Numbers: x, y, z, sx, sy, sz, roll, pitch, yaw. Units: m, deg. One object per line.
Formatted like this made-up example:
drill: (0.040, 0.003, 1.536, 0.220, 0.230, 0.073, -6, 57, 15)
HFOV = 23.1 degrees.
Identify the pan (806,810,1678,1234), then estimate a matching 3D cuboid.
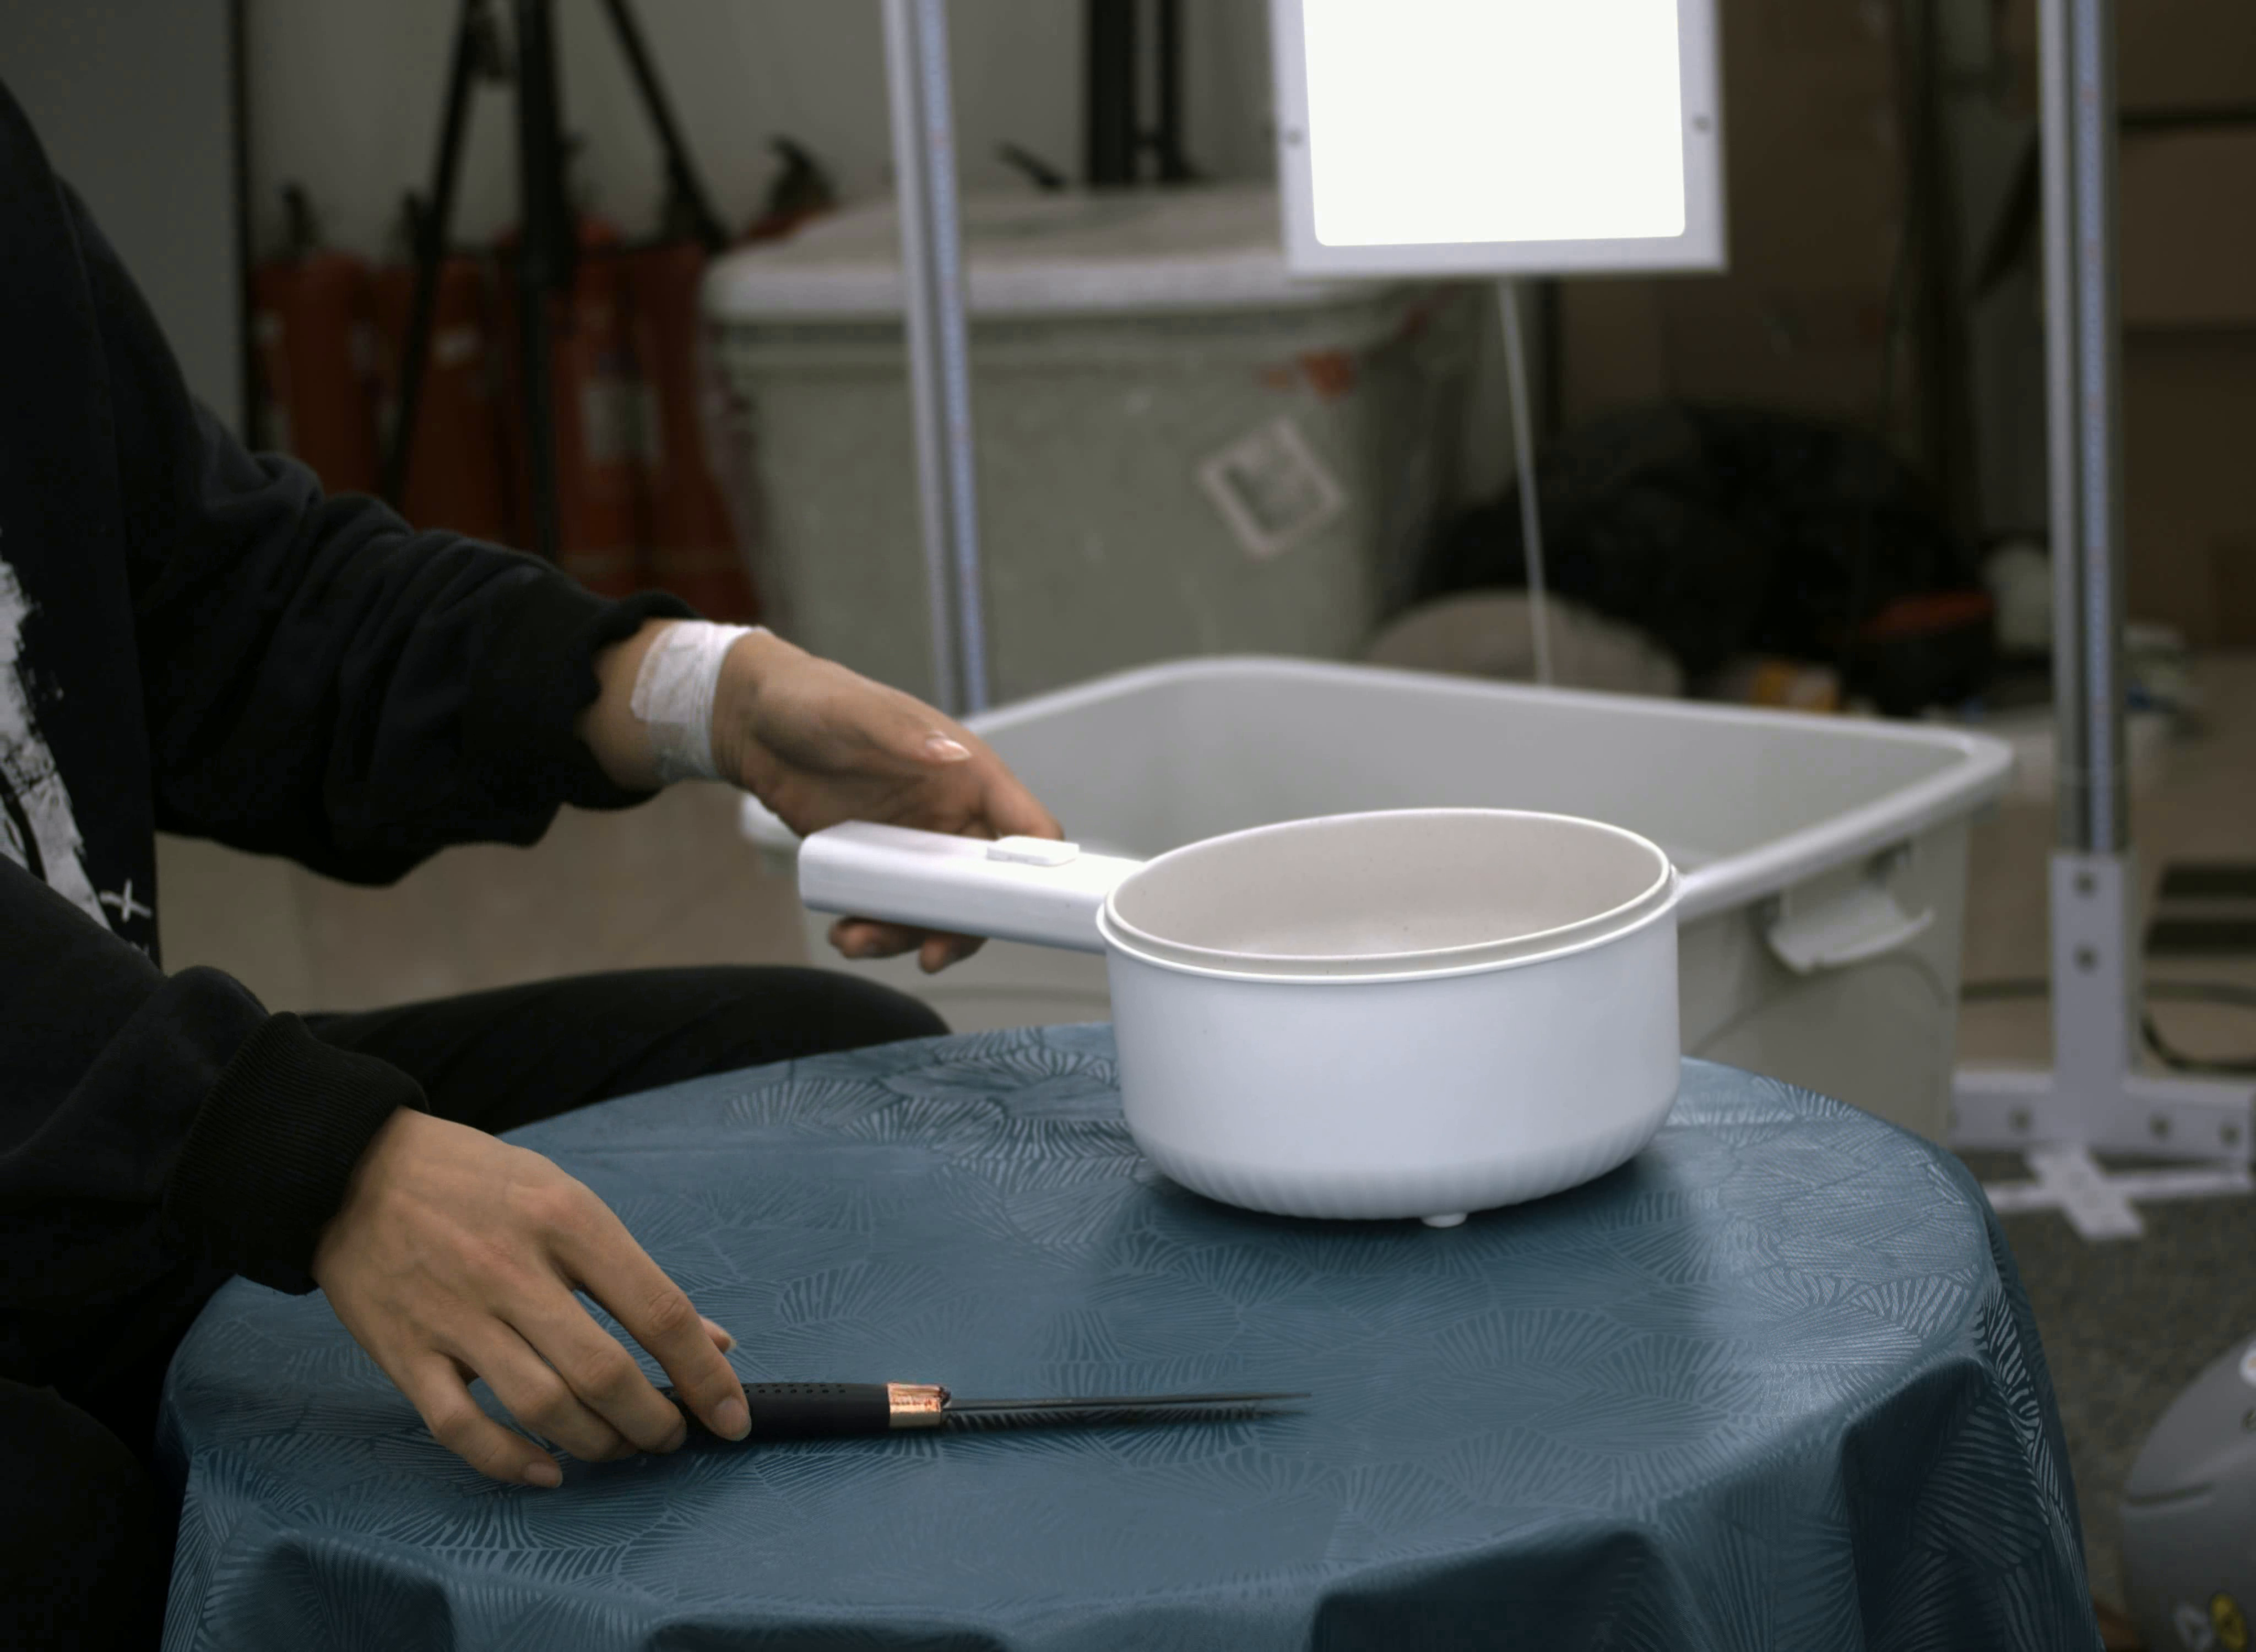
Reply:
pan: (0.032, 0.063, 1.945, 0.362, 0.102, 0.196, 6, 19, 39)

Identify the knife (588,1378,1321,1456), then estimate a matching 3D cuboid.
knife: (-0.053, 0.178, 1.687, 0.226, 0.017, 0.026, -4, -8, 6)
